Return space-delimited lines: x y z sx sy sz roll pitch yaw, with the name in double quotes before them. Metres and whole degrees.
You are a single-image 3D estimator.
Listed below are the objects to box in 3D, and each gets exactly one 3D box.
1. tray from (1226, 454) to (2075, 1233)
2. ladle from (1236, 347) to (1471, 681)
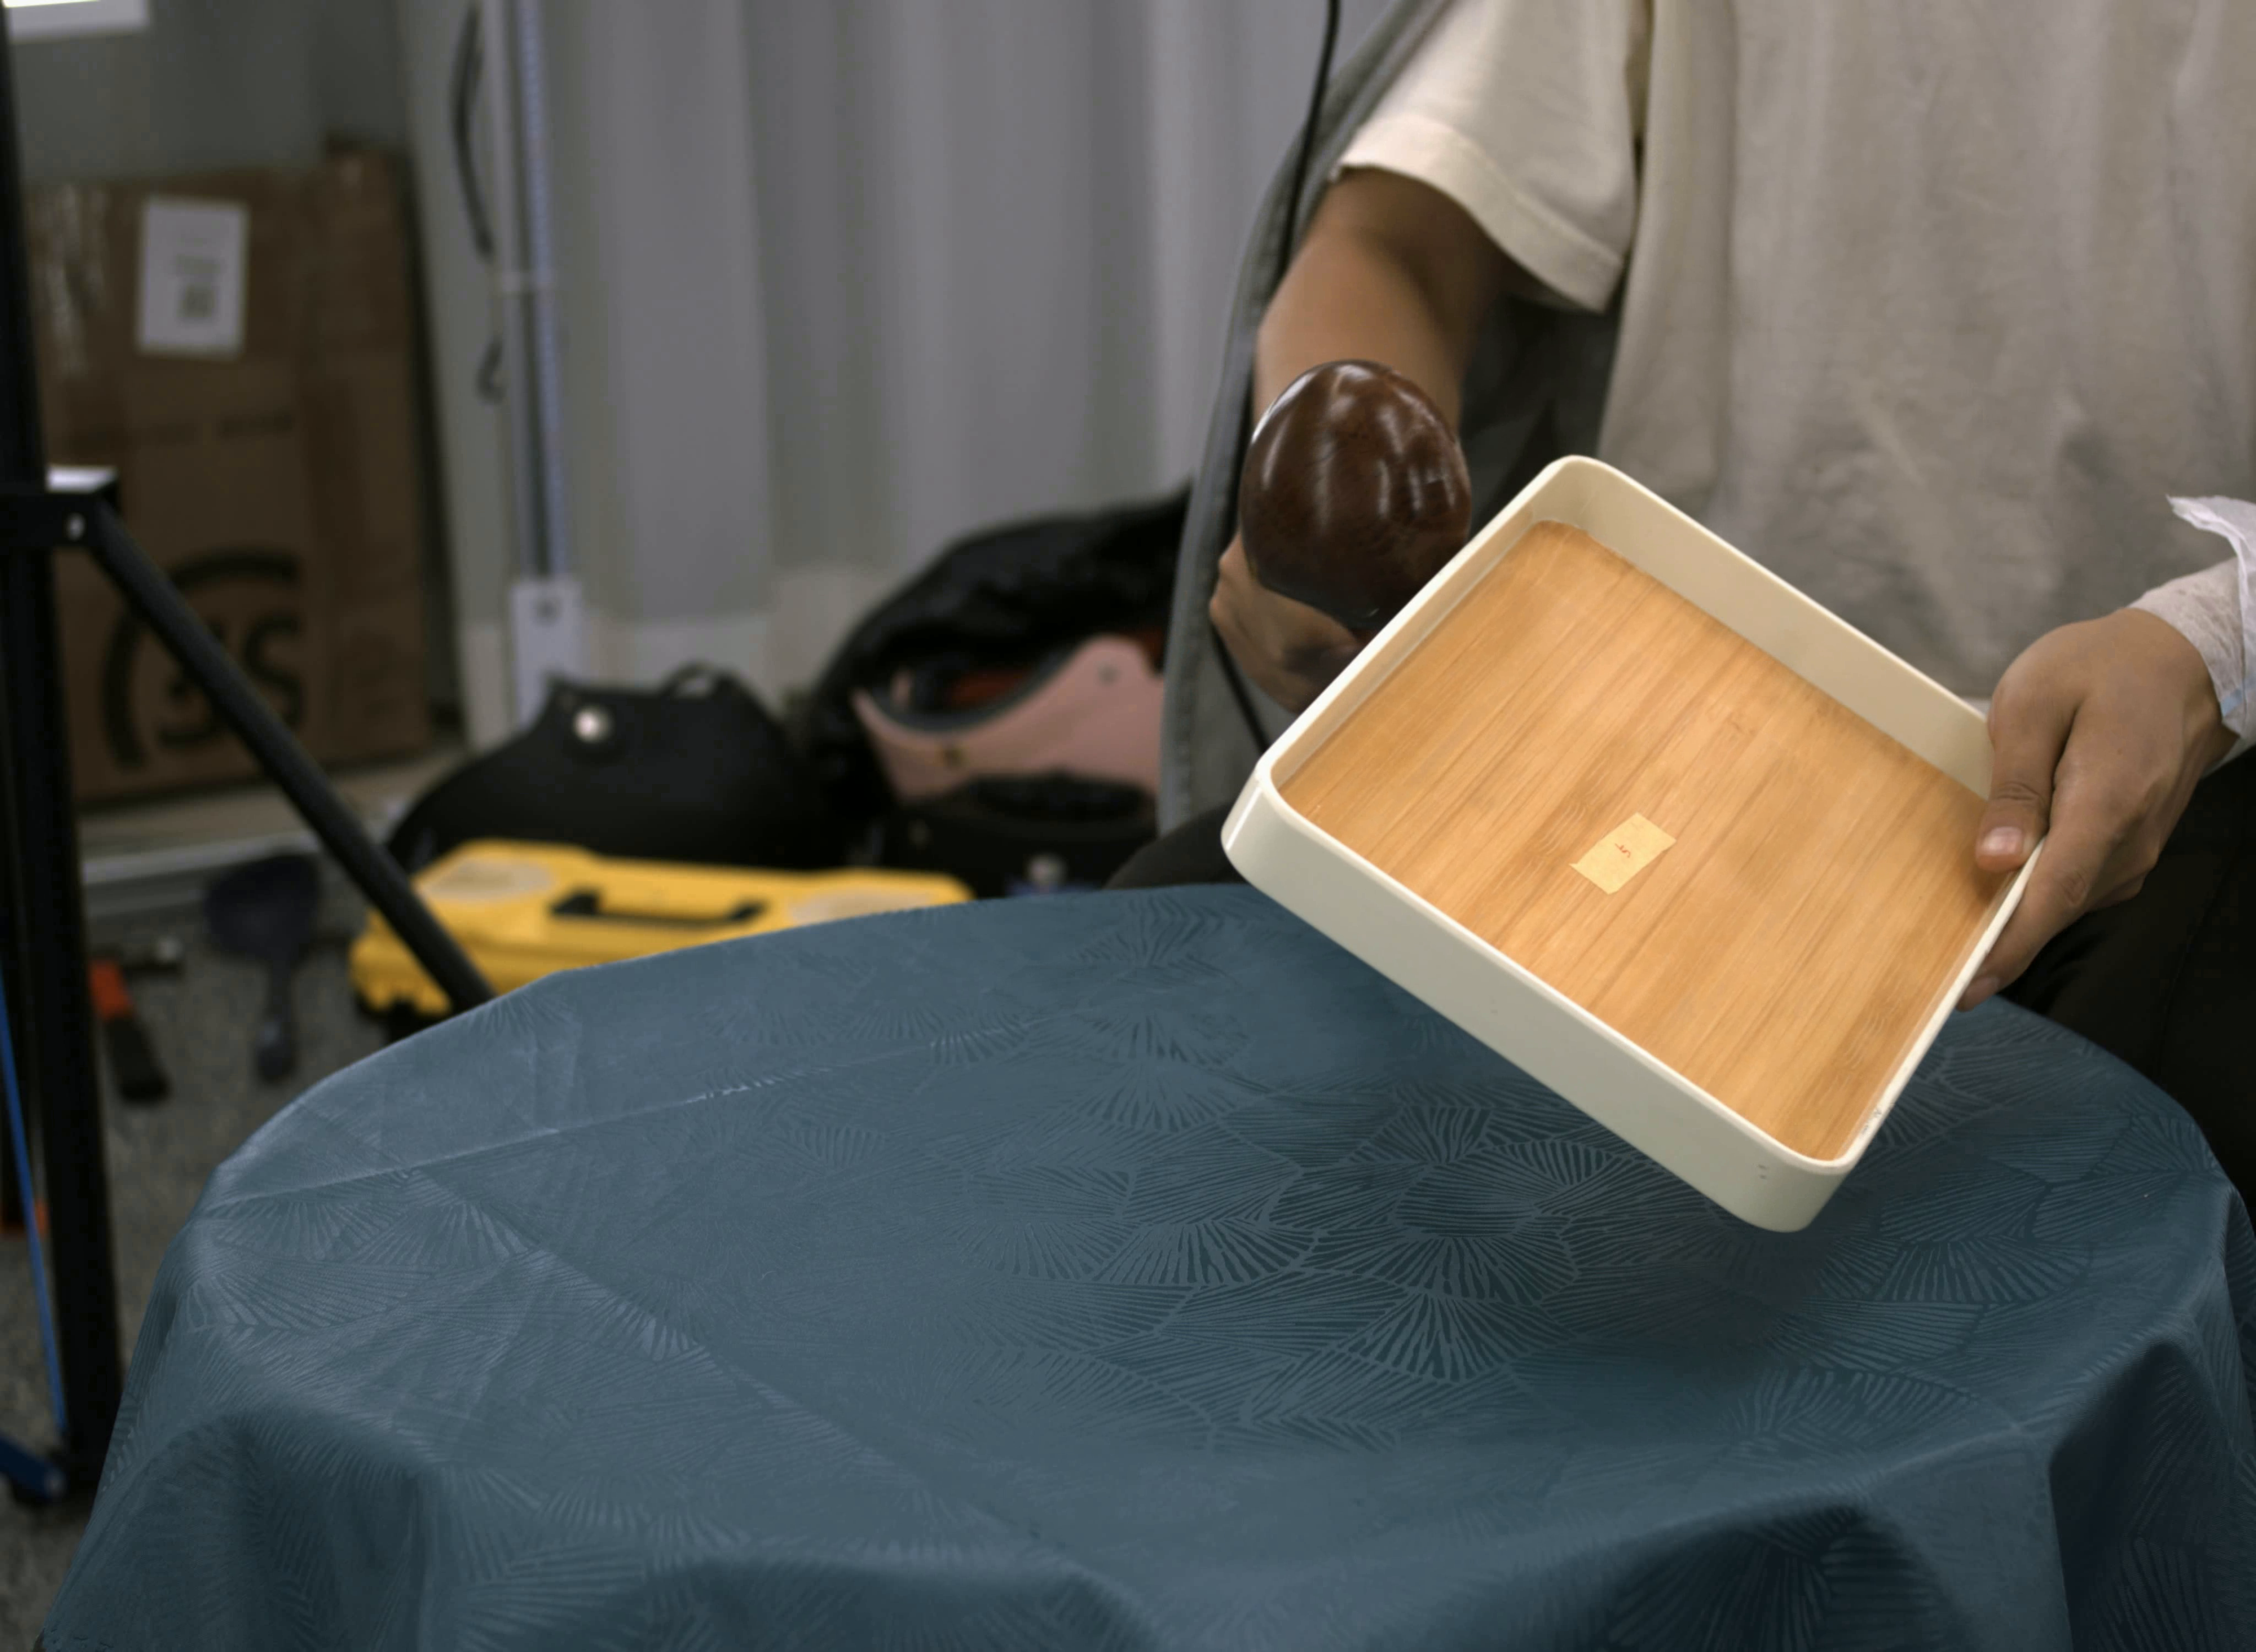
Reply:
"tray" 0.156 -0.003 1.500 0.192 0.027 0.297 34 30 8
"ladle" 0.080 -0.088 1.681 0.077 0.082 0.271 -13 -9 7
